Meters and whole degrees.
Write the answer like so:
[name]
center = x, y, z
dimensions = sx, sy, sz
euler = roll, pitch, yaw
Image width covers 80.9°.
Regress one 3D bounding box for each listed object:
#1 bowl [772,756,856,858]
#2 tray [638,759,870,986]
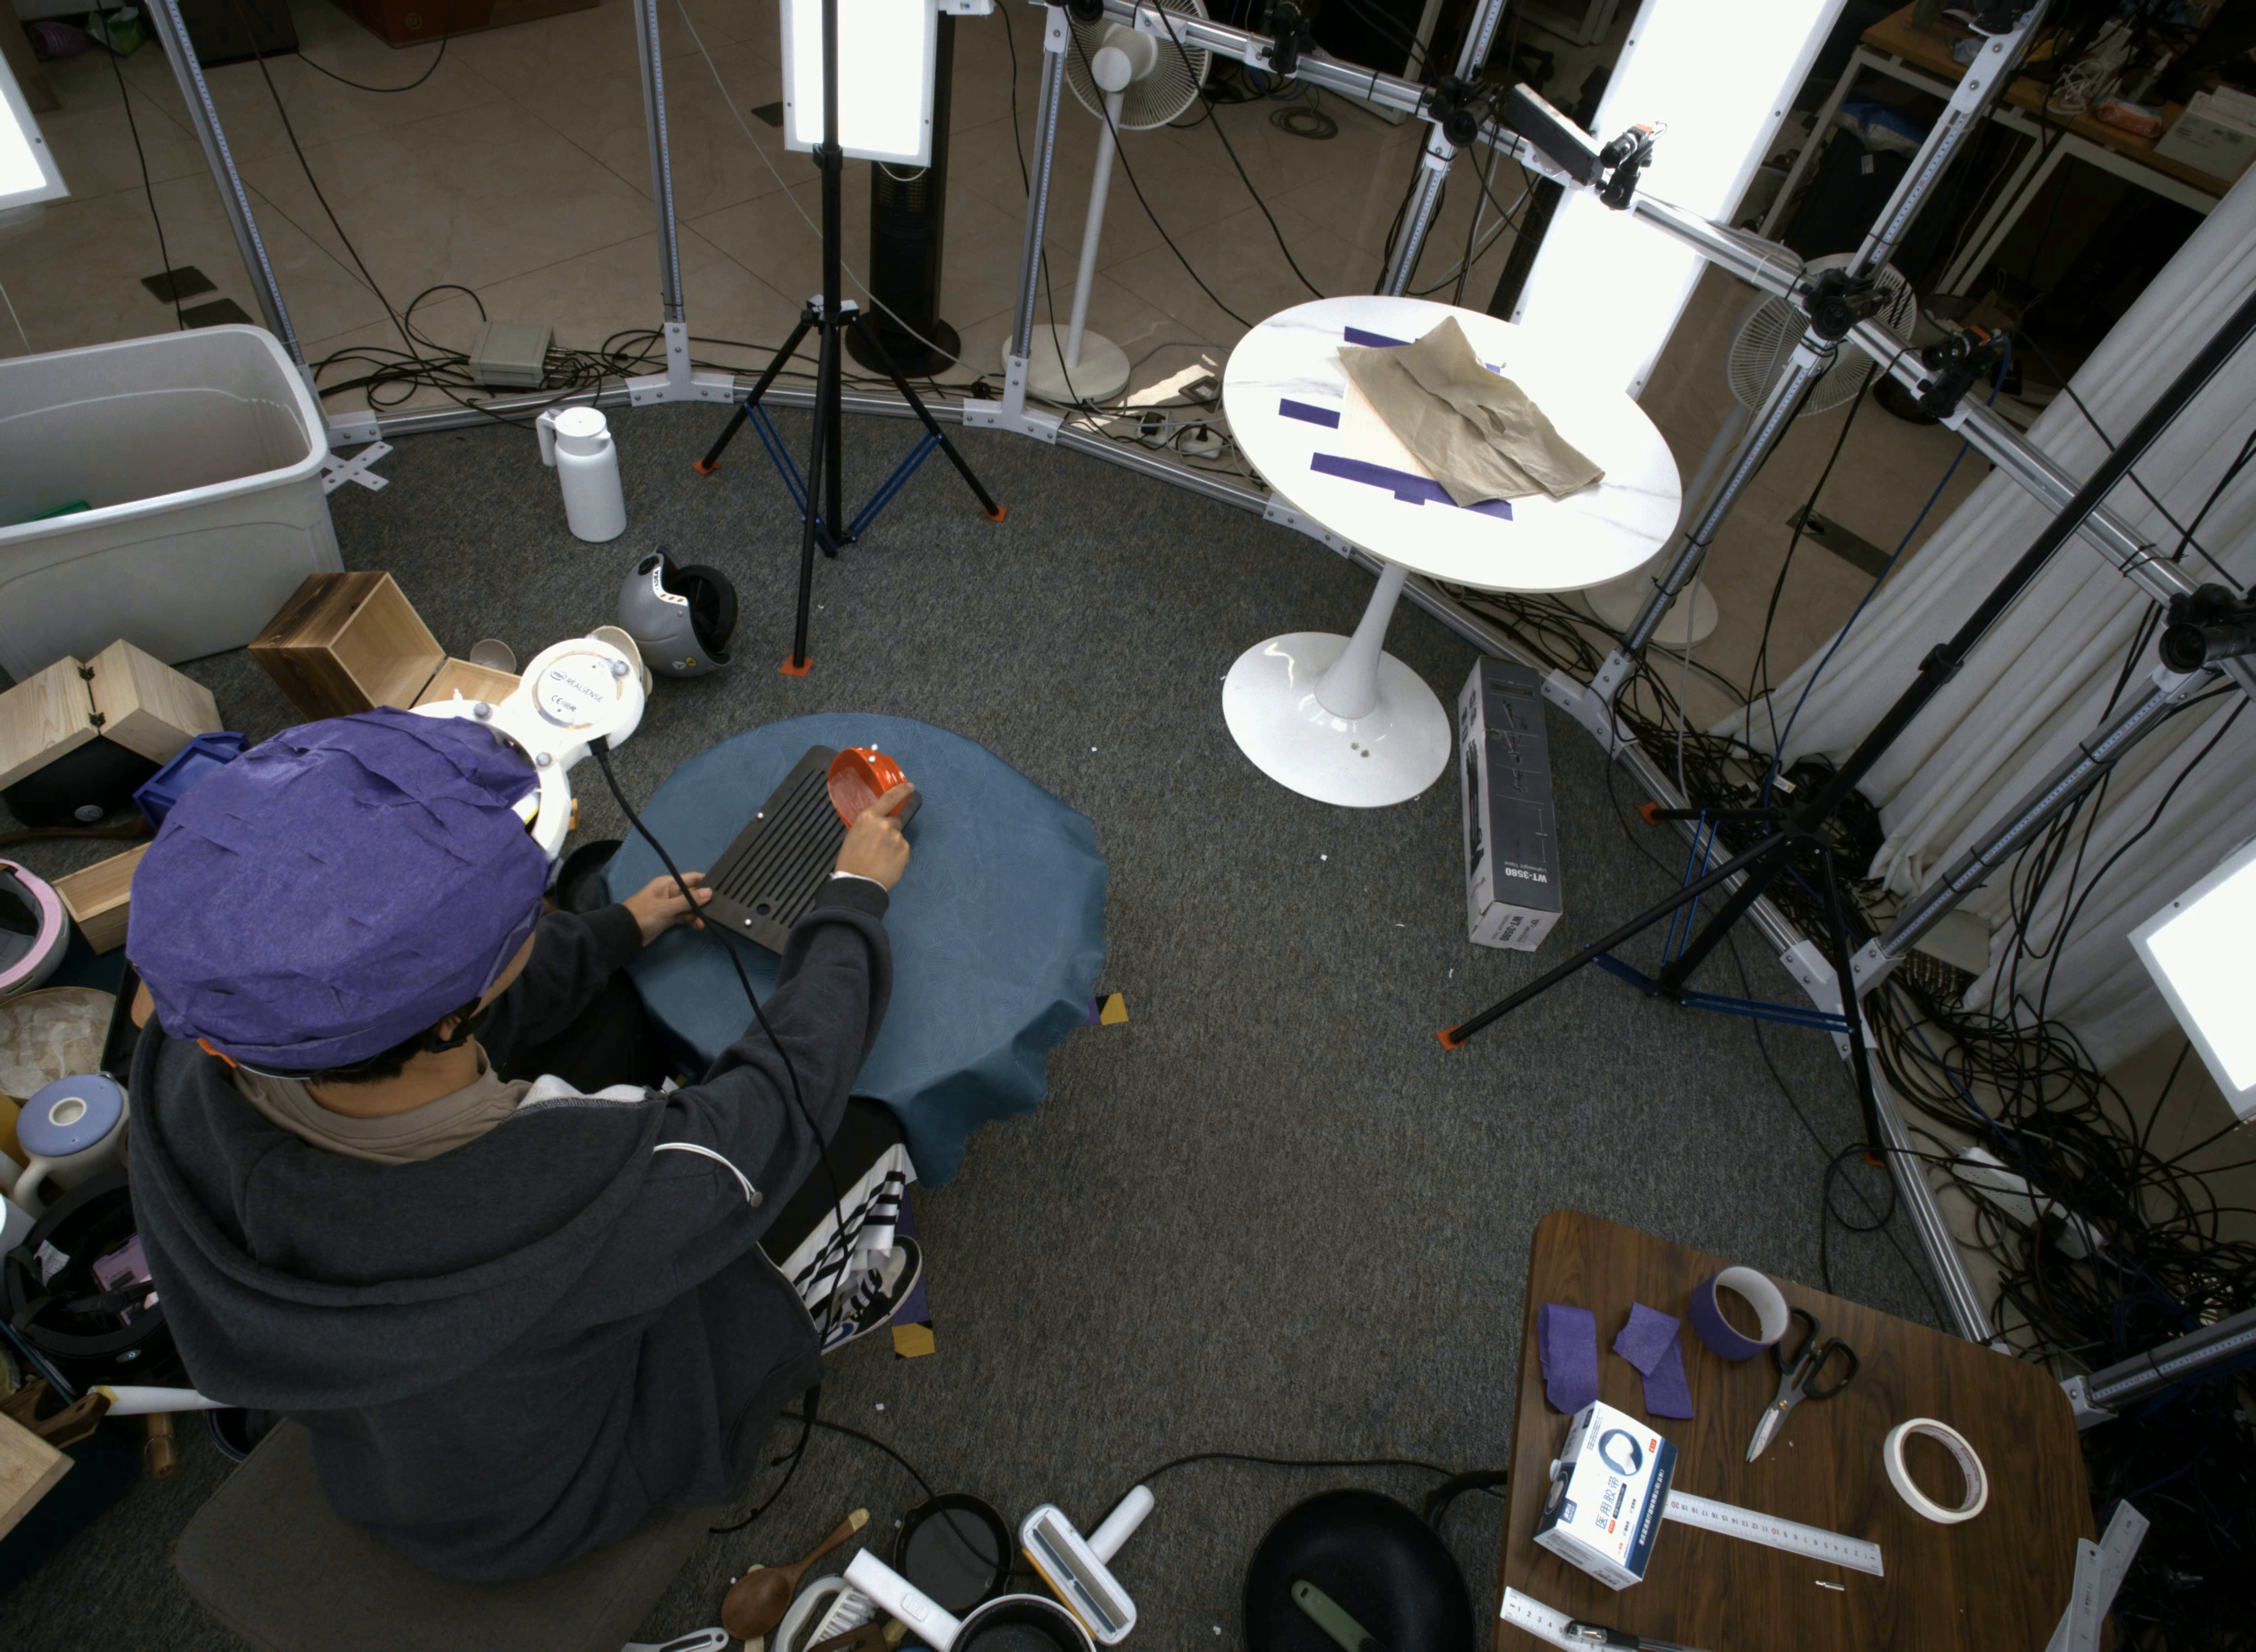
[bowl]
center = -0.362, -0.028, 1.517
dimensions = 0.116, 0.121, 0.052
euler = 41, 40, 19
[tray]
center = -0.465, 0.051, 1.627
dimensions = 0.168, 0.019, 0.303
euler = 24, 52, 1
